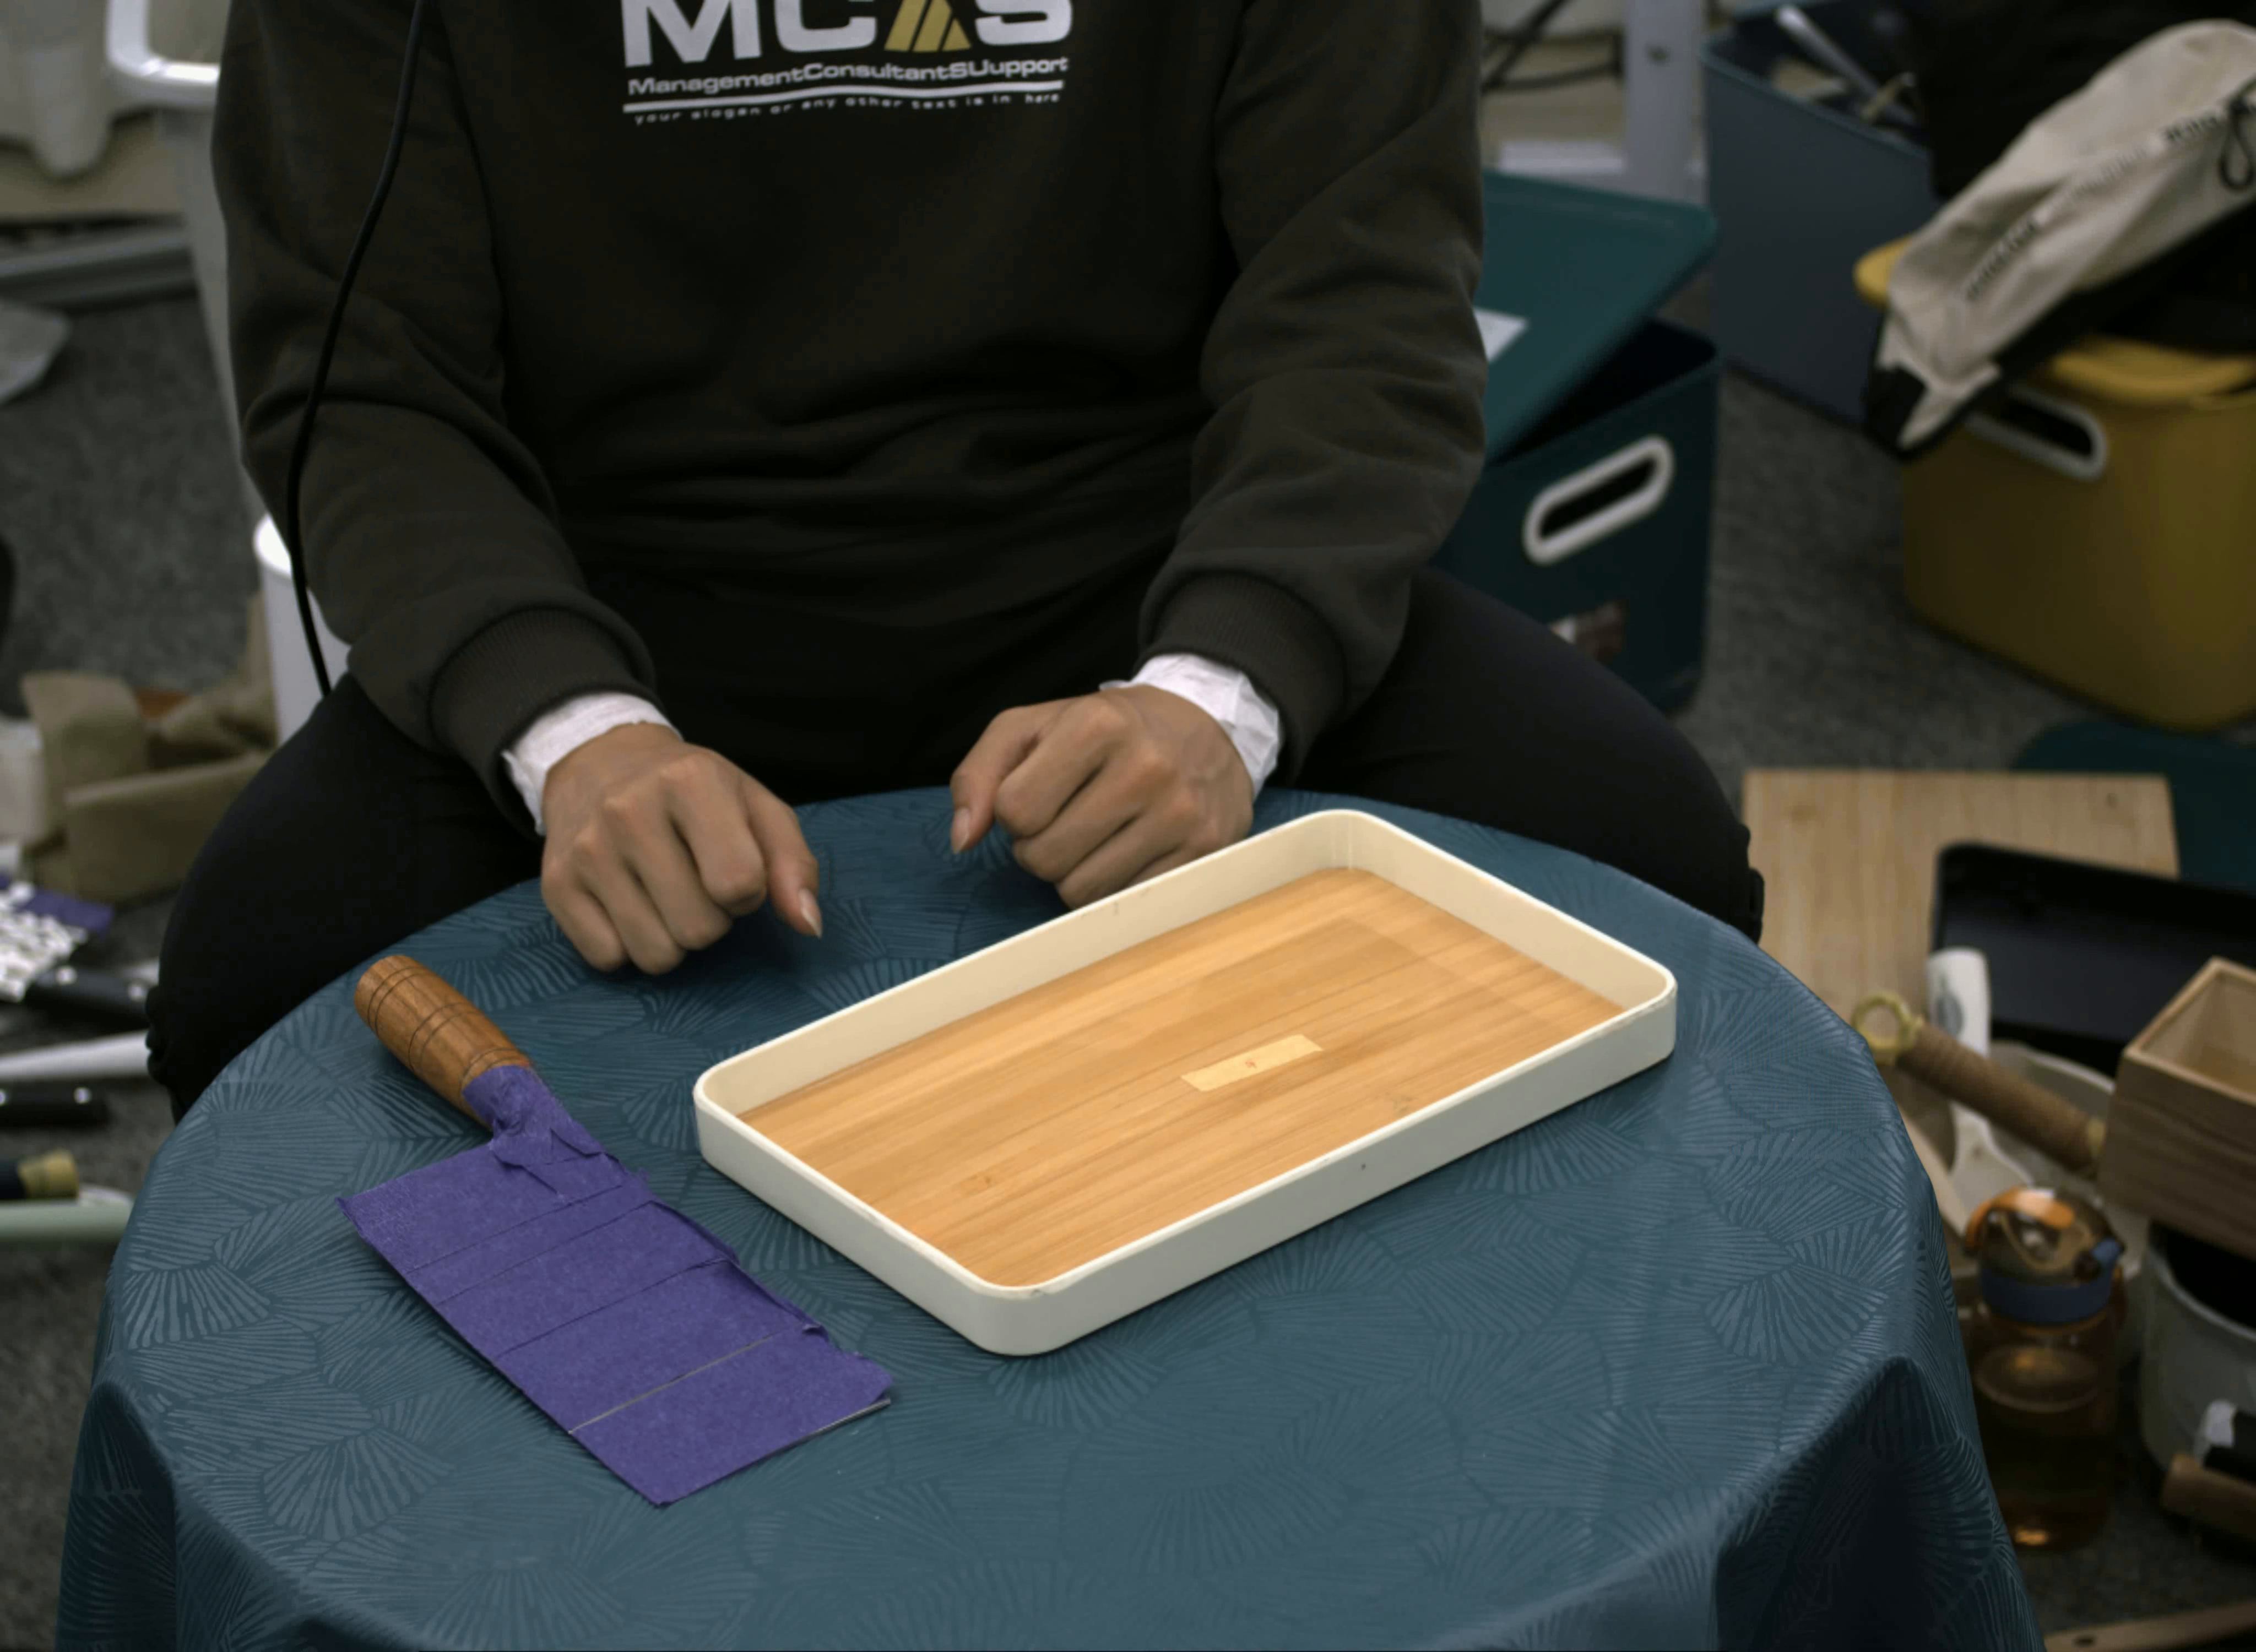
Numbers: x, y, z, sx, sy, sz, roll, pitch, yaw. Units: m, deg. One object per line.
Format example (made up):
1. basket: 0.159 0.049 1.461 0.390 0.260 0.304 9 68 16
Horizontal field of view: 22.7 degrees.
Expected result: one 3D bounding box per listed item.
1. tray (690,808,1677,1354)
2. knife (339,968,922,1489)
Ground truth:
1. tray: 0.020 0.081 1.909 0.303 0.027 0.192 -22 33 -33
2. knife: -0.196 0.128 1.838 0.105 0.032 0.316 -20 32 -31
